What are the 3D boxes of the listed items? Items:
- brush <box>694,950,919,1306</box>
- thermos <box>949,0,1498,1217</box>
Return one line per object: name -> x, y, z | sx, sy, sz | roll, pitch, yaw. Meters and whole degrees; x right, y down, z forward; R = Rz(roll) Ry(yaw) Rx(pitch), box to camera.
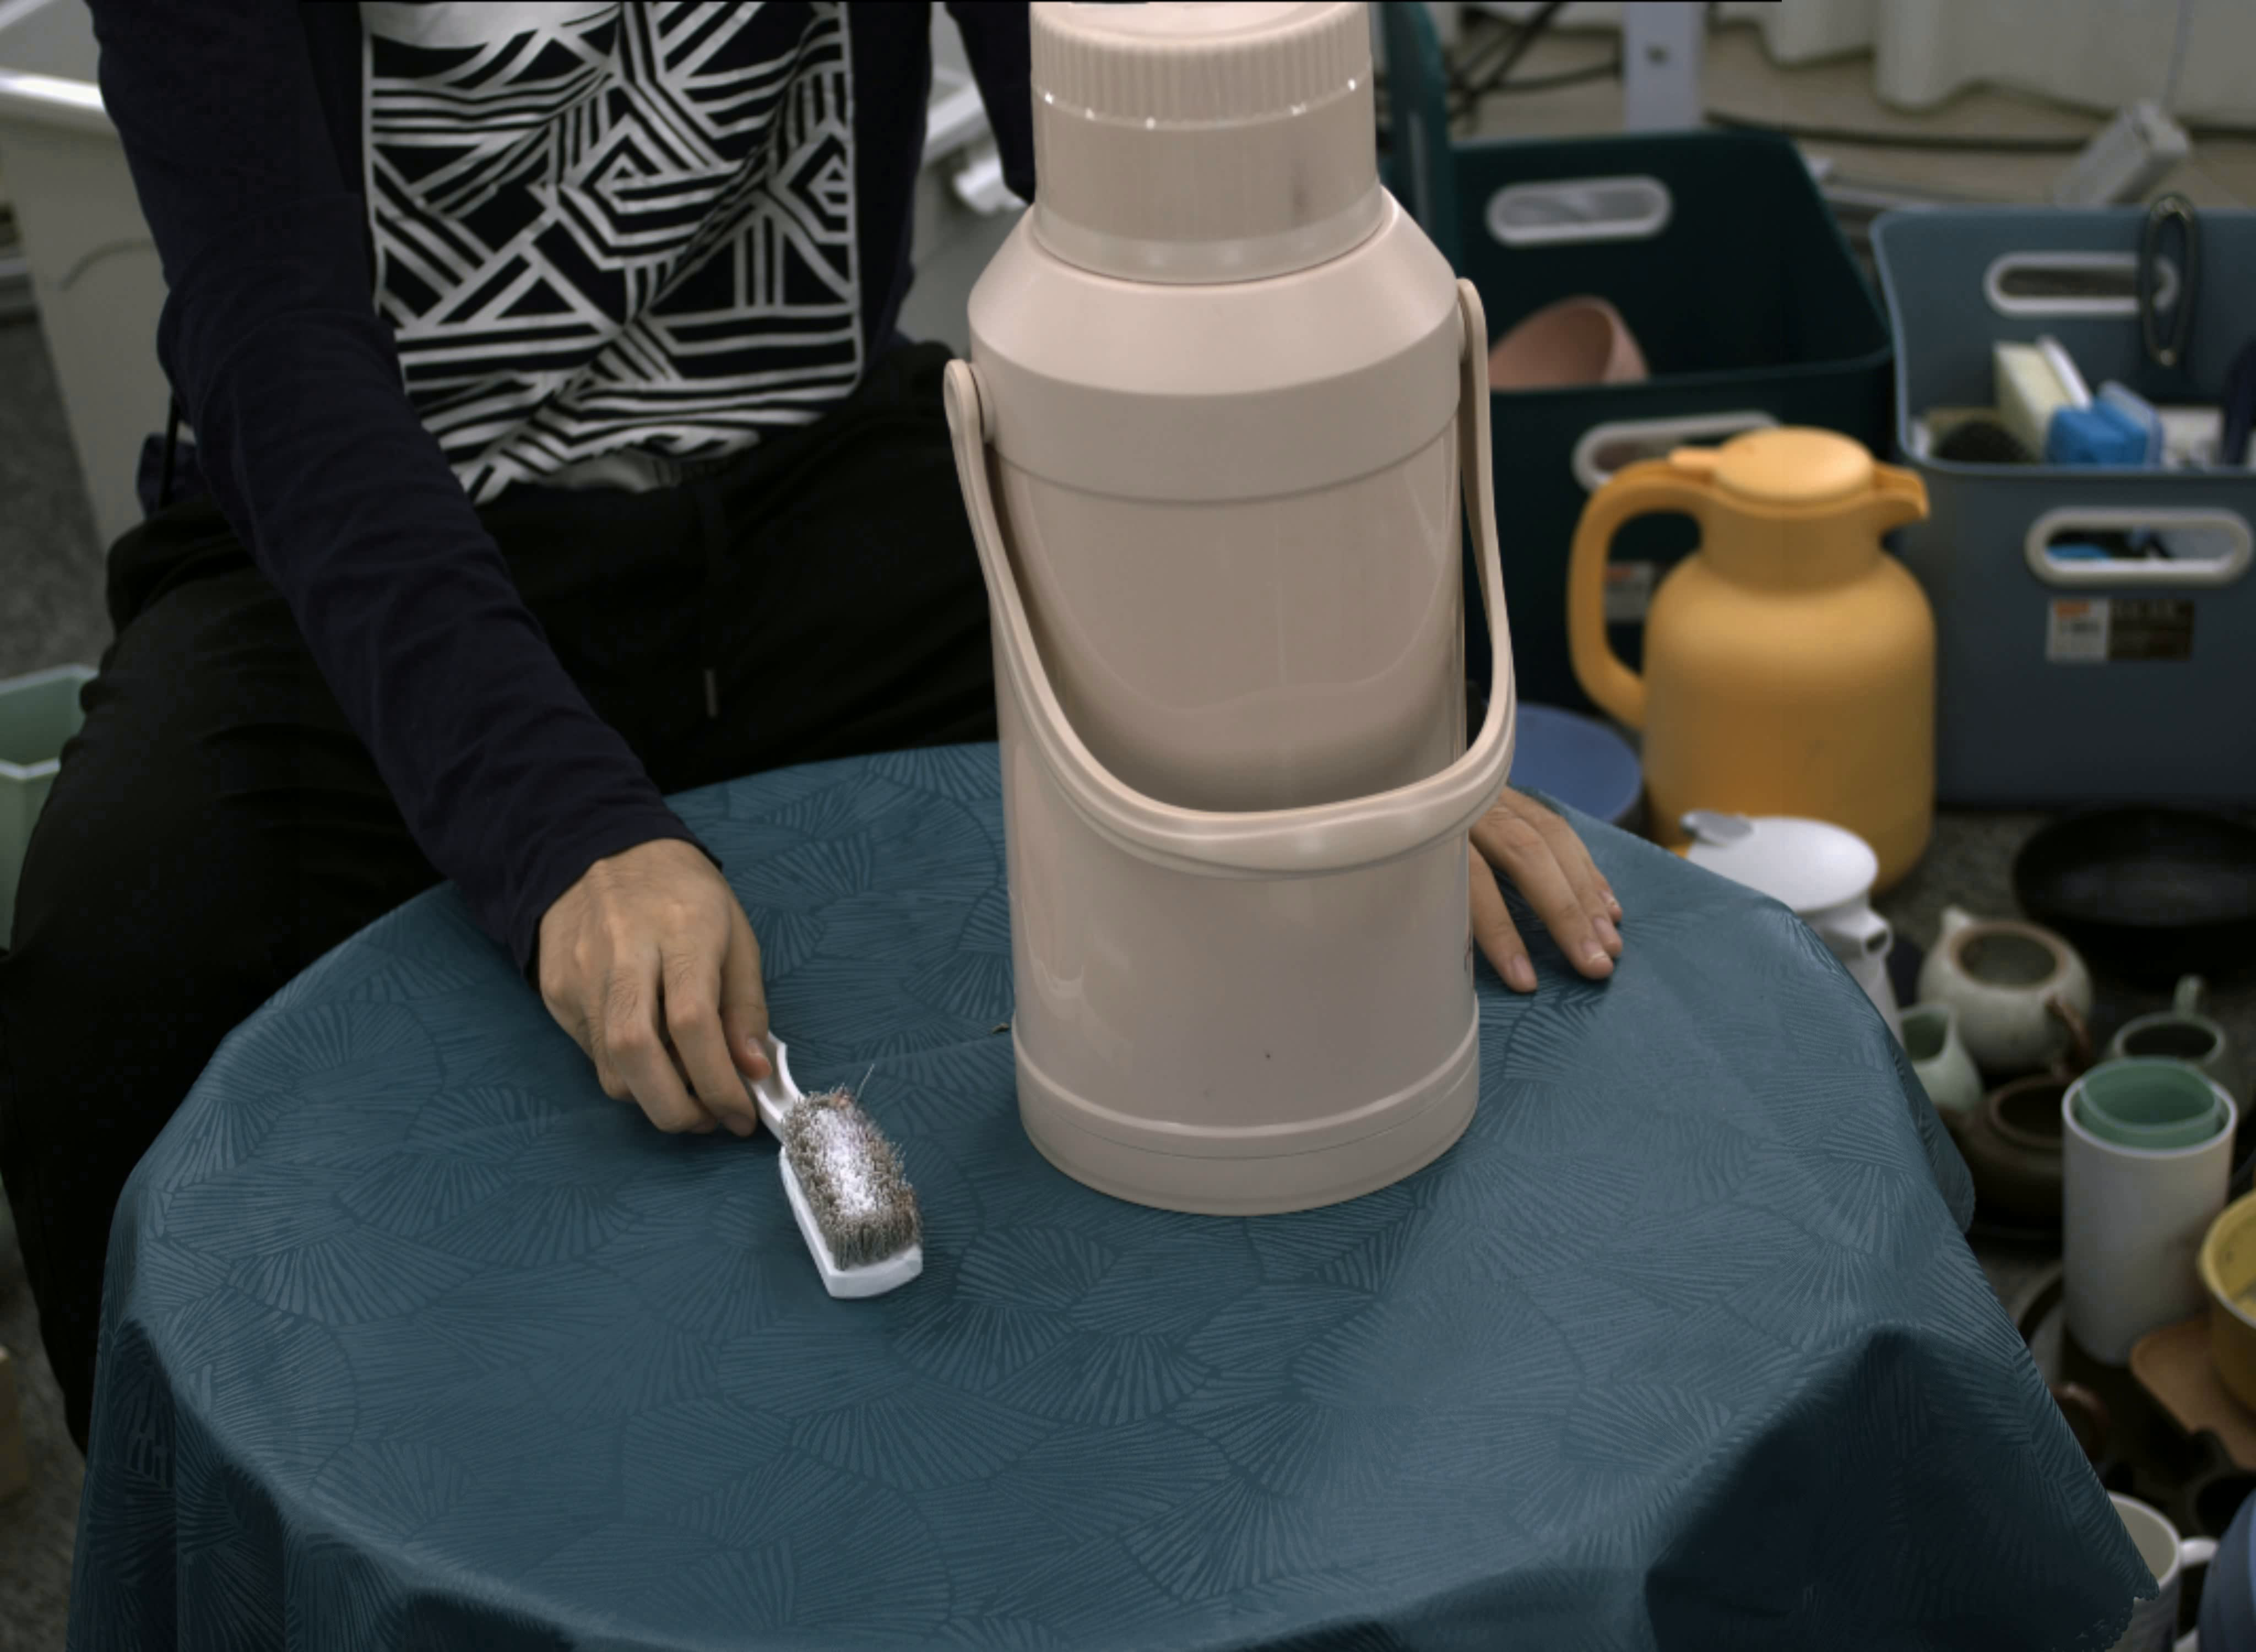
brush -> -0.115, 0.084, 1.891 | 0.034, 0.050, 0.246 | -16, 29, -9
thermos -> 0.031, -0.090, 1.839 | 0.175, 0.402, 0.209 | -12, 27, -14
